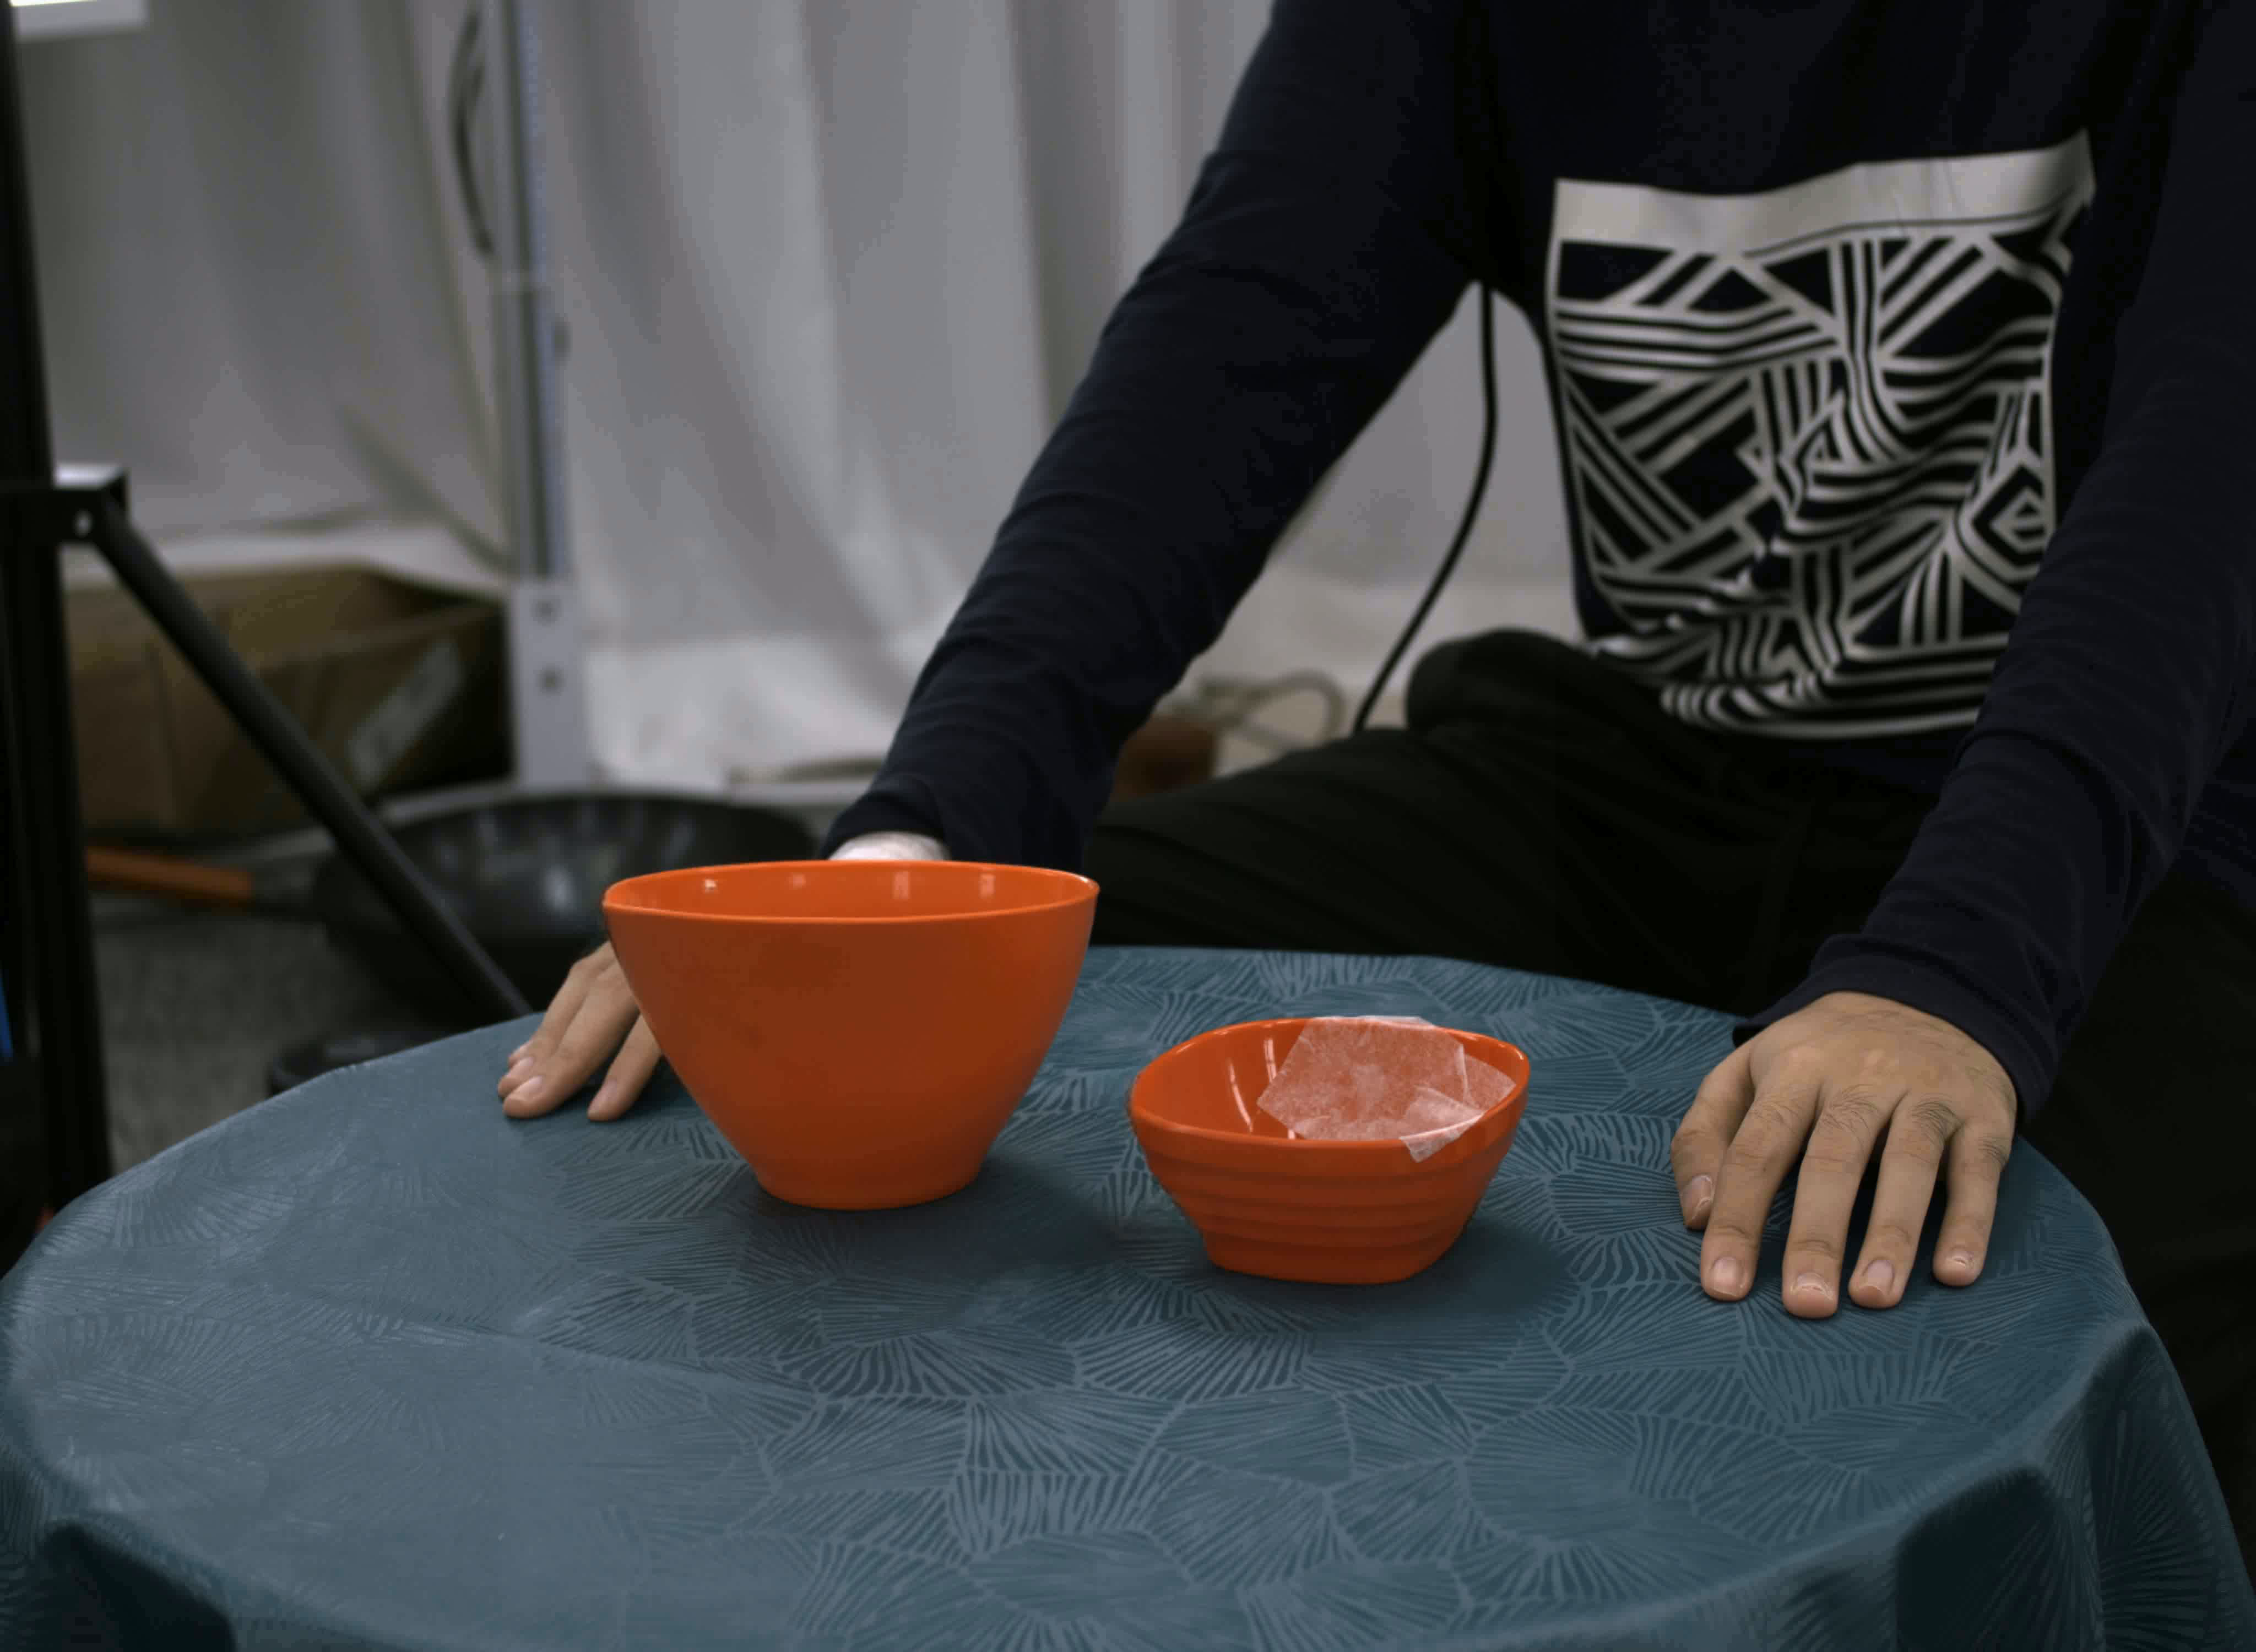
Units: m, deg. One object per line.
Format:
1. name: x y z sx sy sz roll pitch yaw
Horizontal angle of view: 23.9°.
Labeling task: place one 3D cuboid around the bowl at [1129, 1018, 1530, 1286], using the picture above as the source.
1. bowl: 0.059 0.095 1.506 0.118 0.051 0.119 -4 15 0

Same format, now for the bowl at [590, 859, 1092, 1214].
1. bowl: -0.082 0.058 1.566 0.147 0.104 0.149 -3 15 -1
